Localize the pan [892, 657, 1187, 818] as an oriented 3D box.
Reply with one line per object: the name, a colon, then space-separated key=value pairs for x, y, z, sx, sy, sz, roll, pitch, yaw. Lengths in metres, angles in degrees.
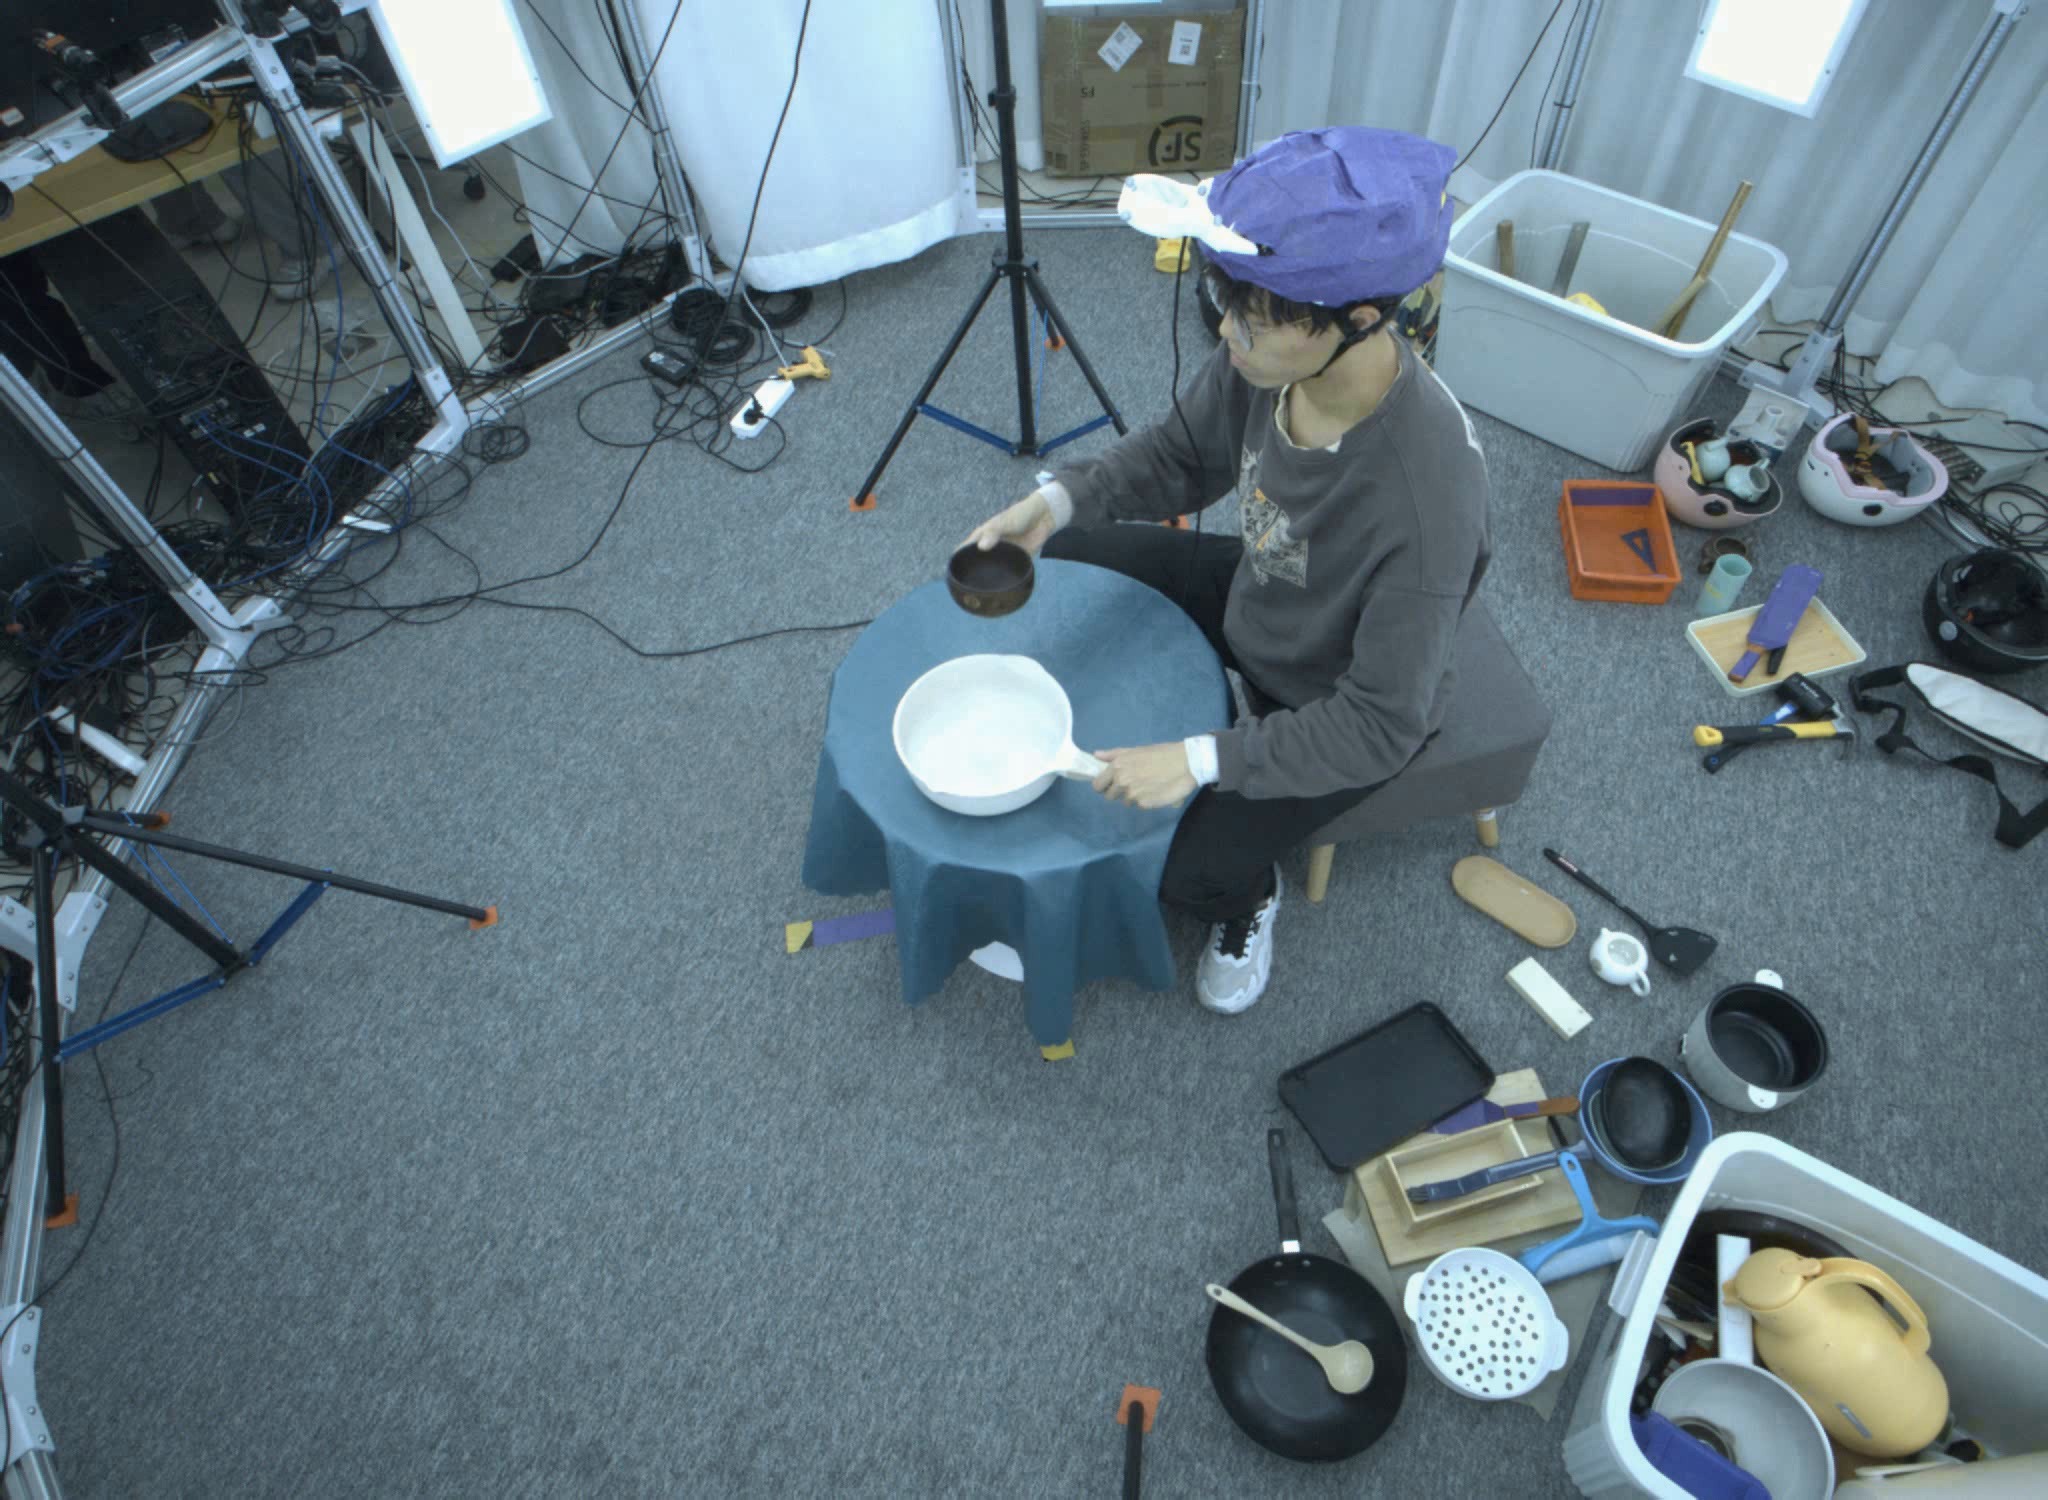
pan: x=0.022 y=0.017 z=1.711 sx=0.429 sy=0.103 sz=0.264 roll=23 pitch=56 yaw=17

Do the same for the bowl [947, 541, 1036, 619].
bowl: x=-0.043 y=-0.219 z=1.643 sx=0.118 sy=0.070 sz=0.117 roll=0 pitch=44 yaw=1
